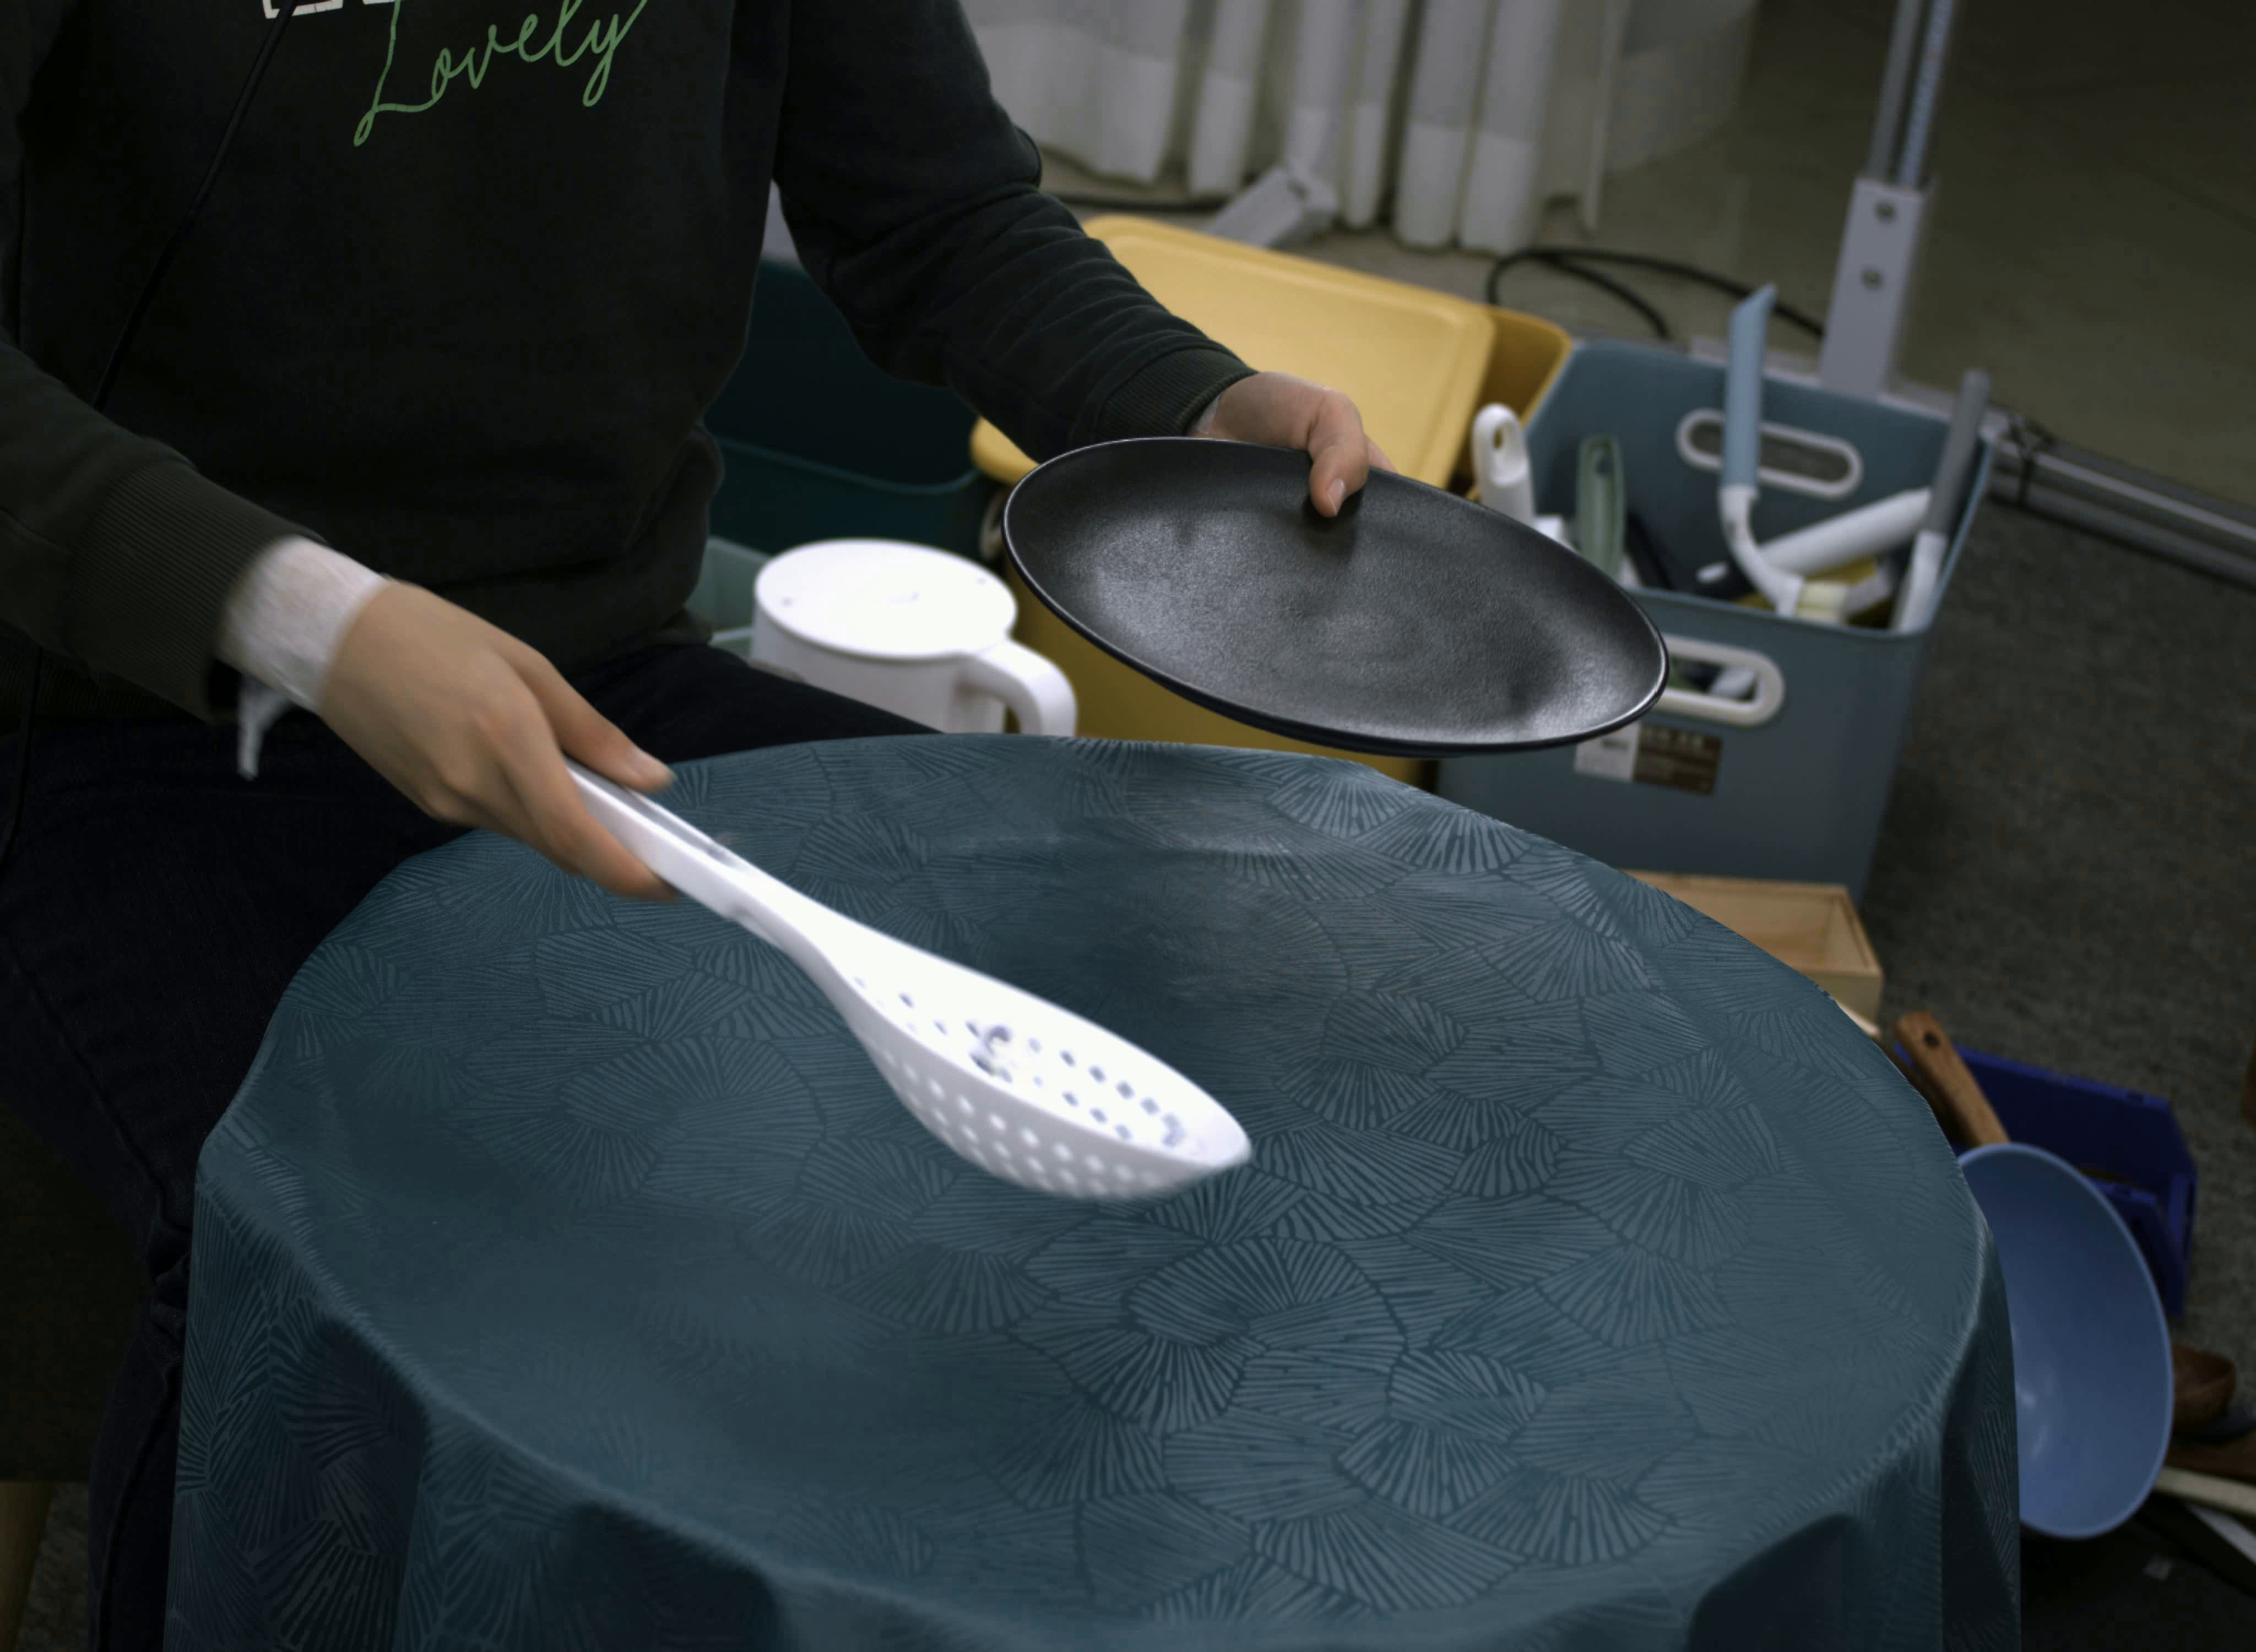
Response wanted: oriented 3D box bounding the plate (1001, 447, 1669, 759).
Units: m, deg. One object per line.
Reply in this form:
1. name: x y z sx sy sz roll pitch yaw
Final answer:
1. plate: 0.071 -0.075 1.887 0.243 0.023 0.246 11 25 -6

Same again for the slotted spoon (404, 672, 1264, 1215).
1. slotted spoon: -0.104 0.034 1.699 0.352 0.046 0.135 36 12 28
